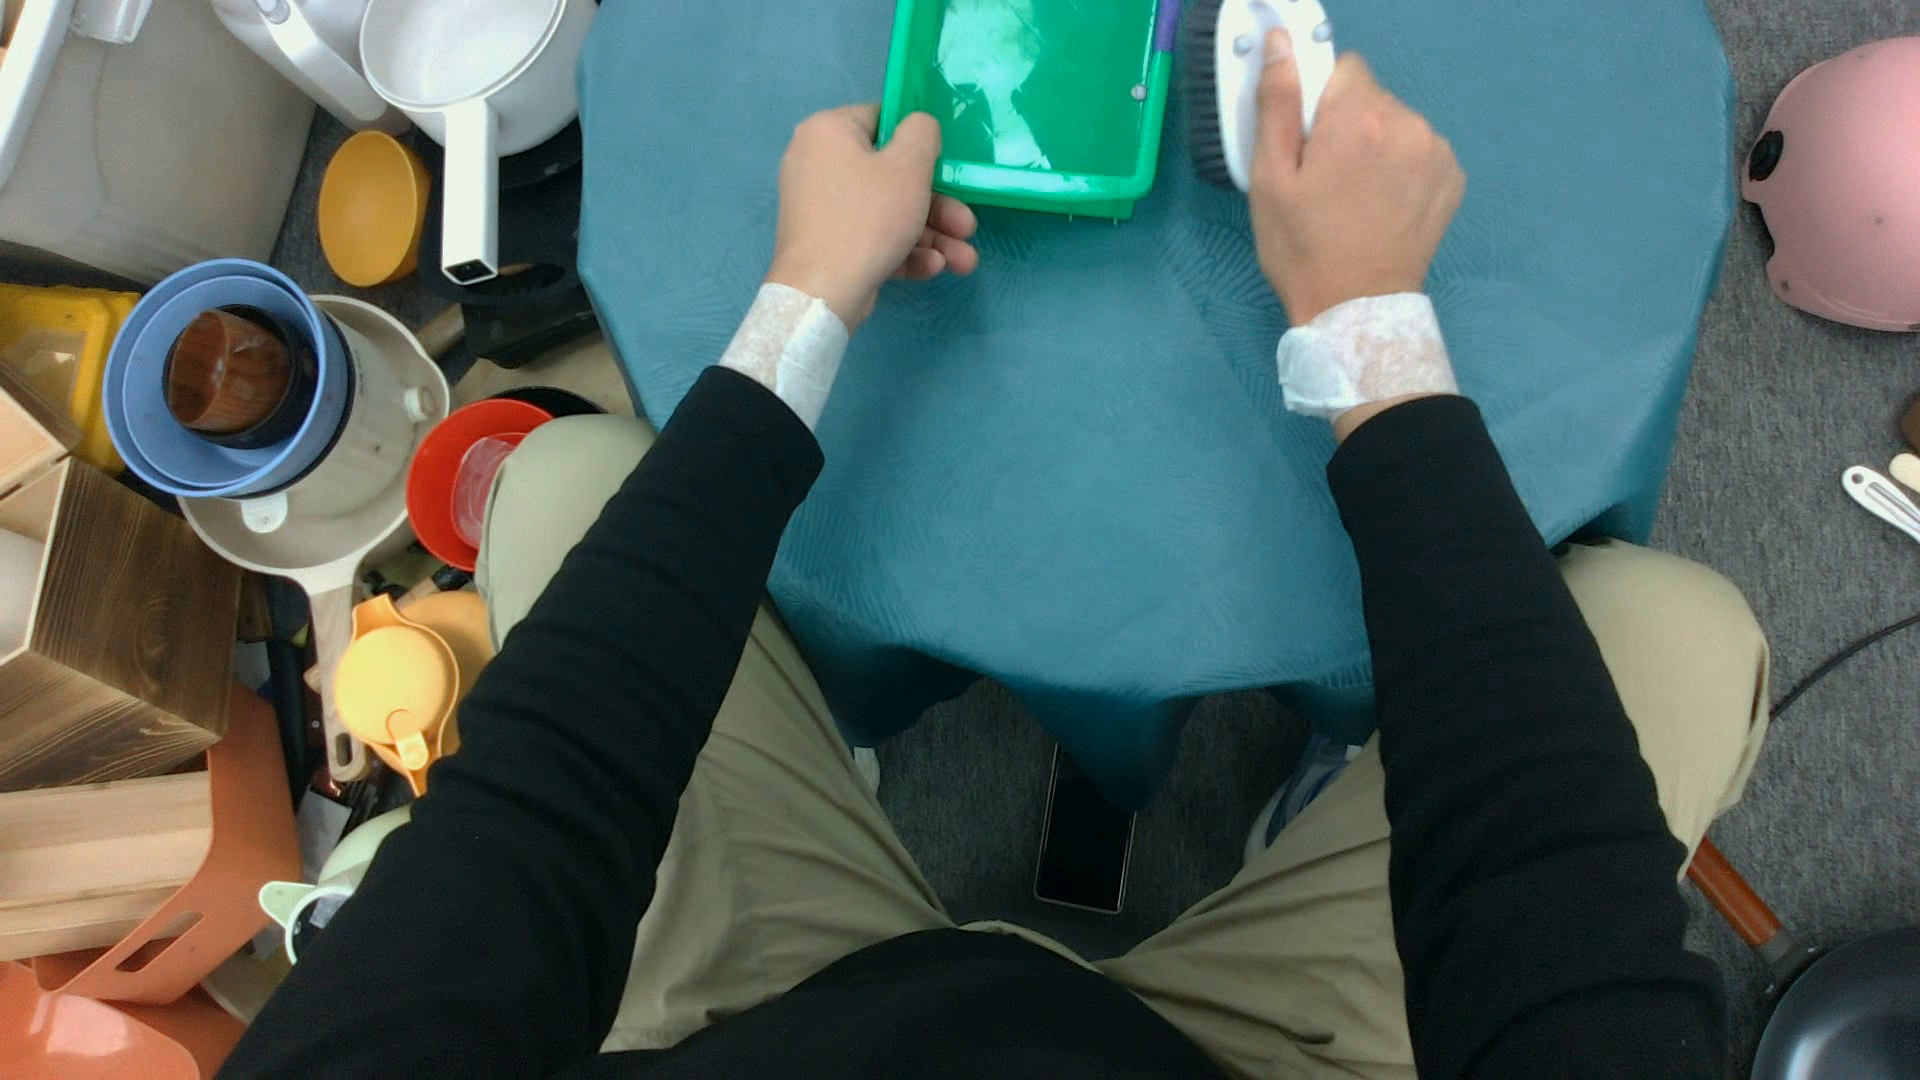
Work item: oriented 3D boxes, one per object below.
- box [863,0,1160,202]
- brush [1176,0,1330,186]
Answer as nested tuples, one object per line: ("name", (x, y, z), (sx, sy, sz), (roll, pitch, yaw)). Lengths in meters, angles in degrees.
("box", (0.033, -0.276, 0.707), (0.138, 0.065, 0.211), (7, 82, 3))
("brush", (0.141, -0.214, 0.638), (0.050, 0.072, 0.099), (-12, 113, -25))
